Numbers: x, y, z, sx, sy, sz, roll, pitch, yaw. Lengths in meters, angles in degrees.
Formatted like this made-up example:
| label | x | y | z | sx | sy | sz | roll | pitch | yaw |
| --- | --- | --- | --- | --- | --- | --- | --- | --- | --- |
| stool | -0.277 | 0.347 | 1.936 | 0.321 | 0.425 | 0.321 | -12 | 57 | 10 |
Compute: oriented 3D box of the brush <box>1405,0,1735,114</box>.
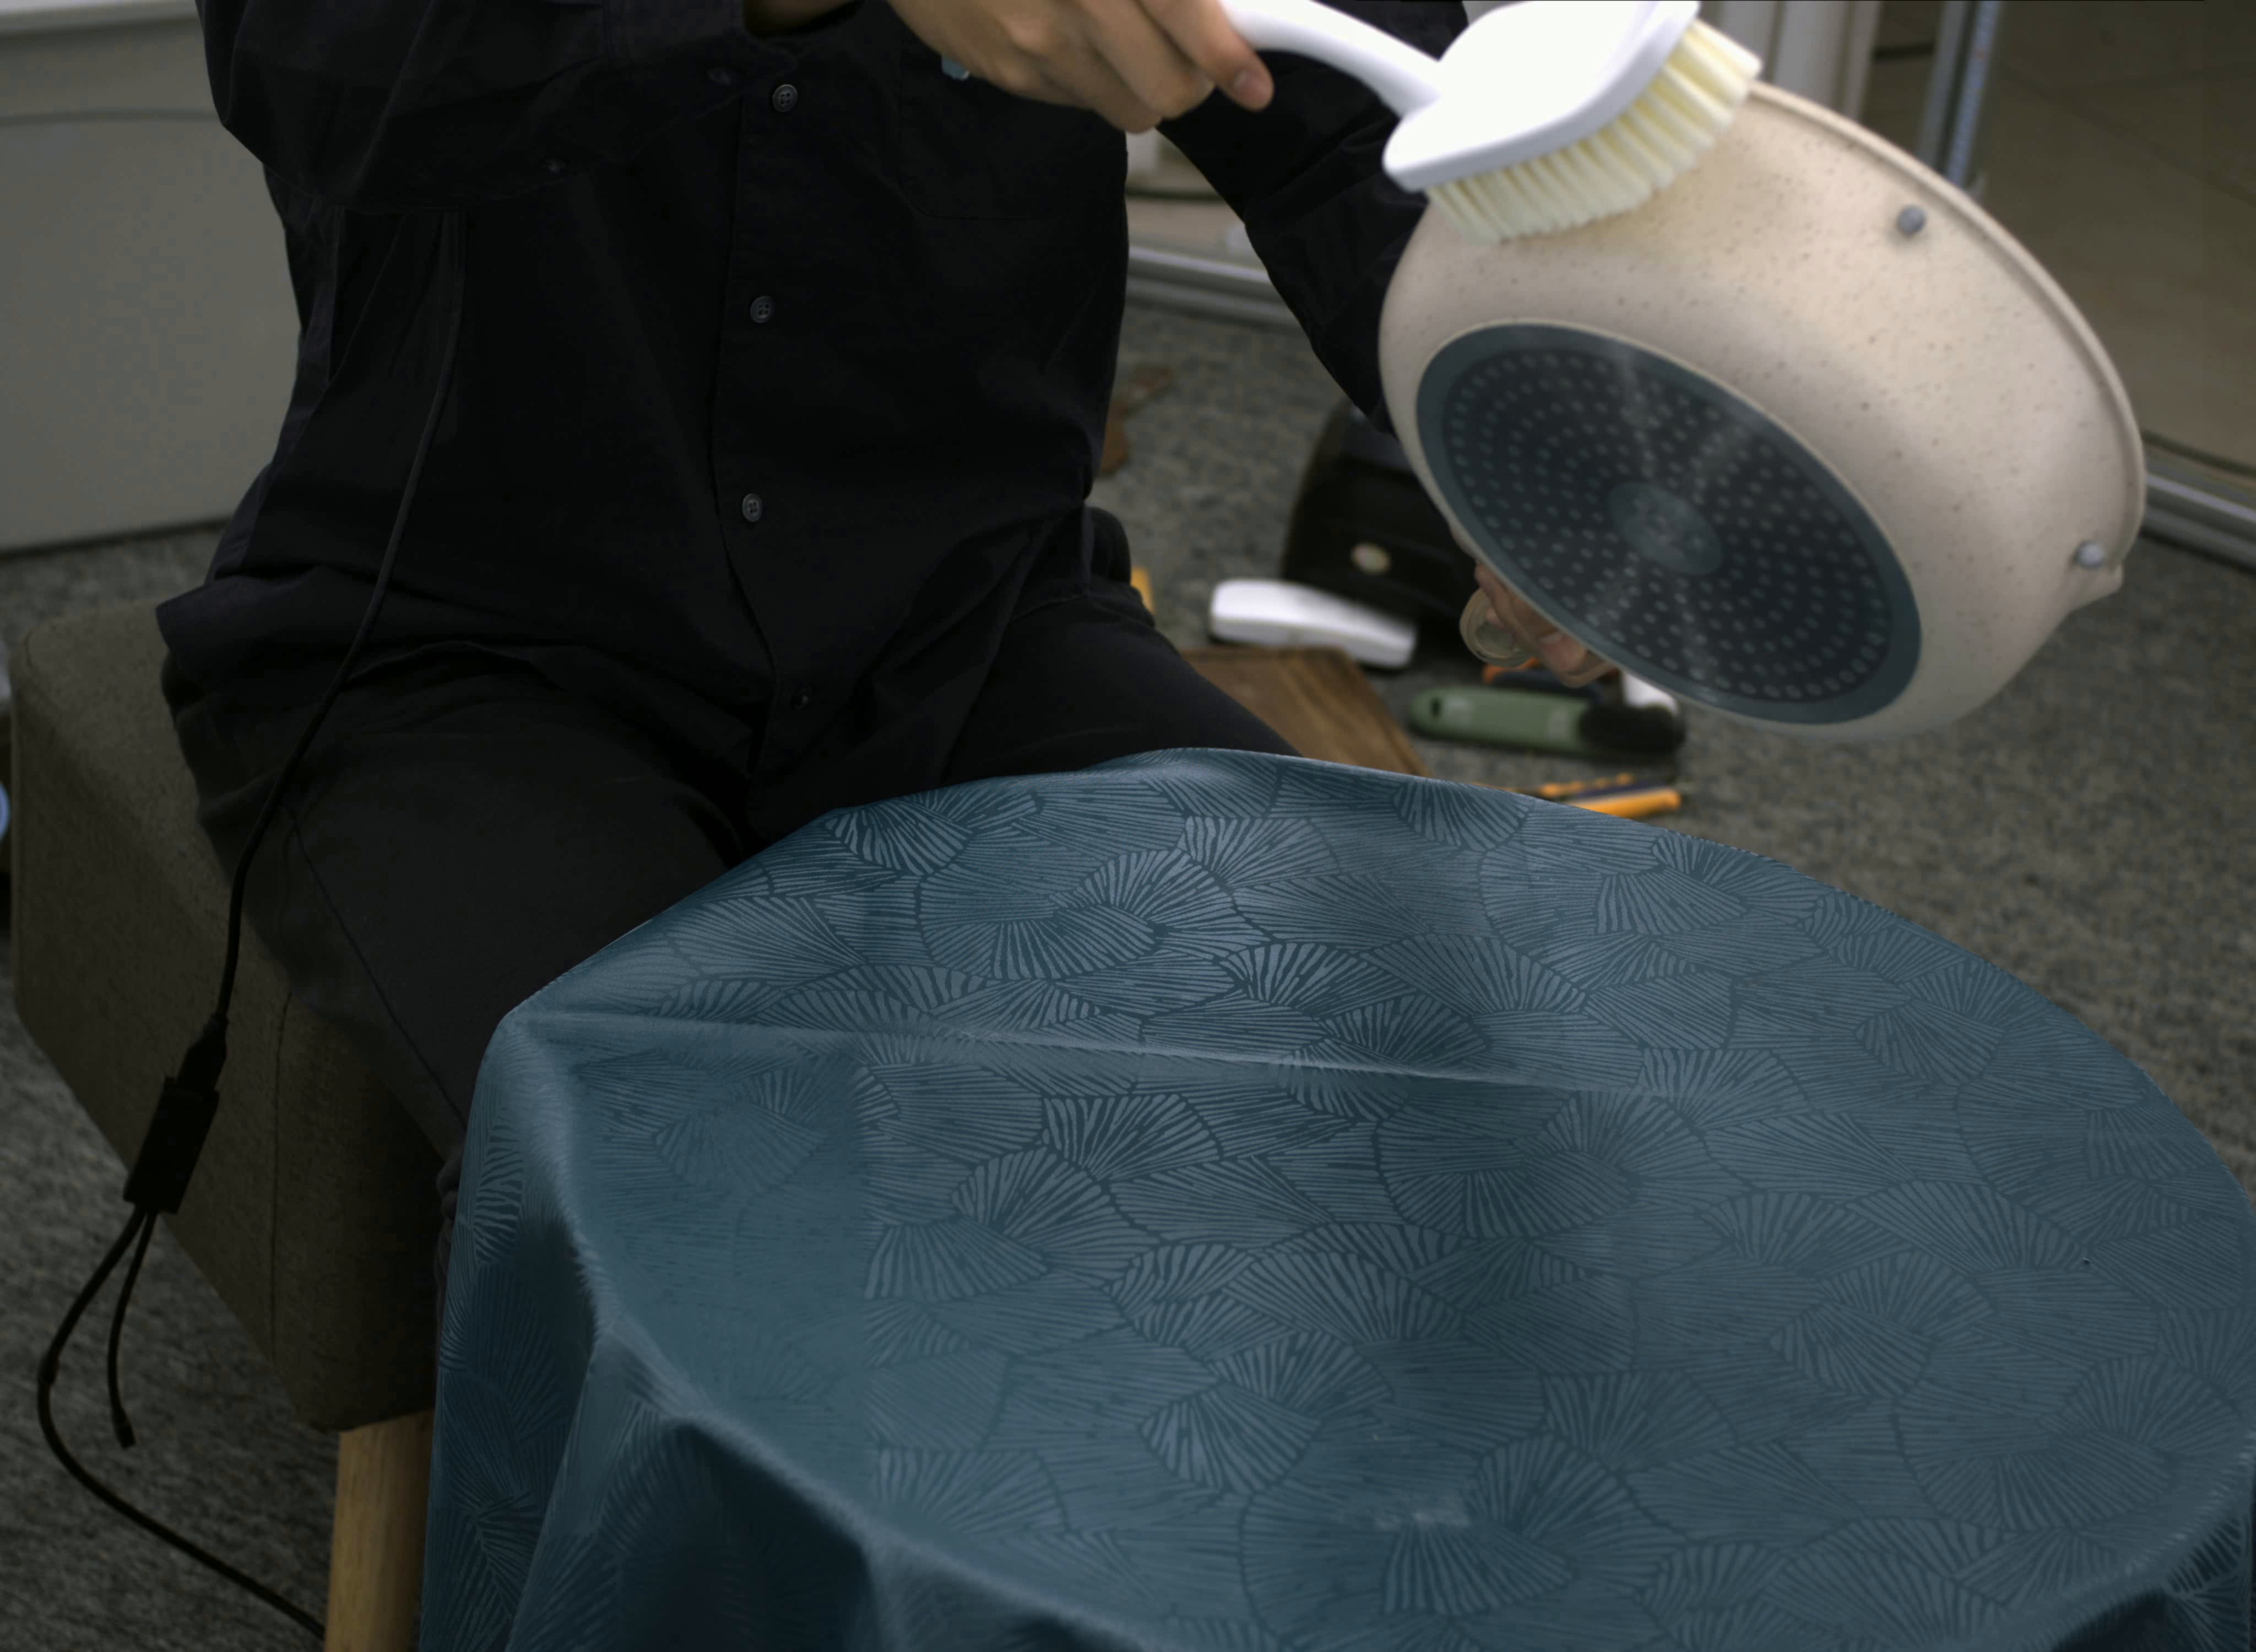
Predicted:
| label | x | y | z | sx | sy | sz | roll | pitch | yaw |
| --- | --- | --- | --- | --- | --- | --- | --- | --- | --- |
| brush | 0.078 | -0.266 | 1.669 | 0.083 | 0.084 | 0.327 | -23 | 20 | -38 |

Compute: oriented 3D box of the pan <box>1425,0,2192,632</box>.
| label | x | y | z | sx | sy | sz | roll | pitch | yaw |
| --- | --- | --- | --- | --- | --- | --- | --- | --- | --- |
| pan | 0.184 | -0.136 | 1.783 | 0.263 | 0.434 | 0.102 | 35 | 66 | -3 |
